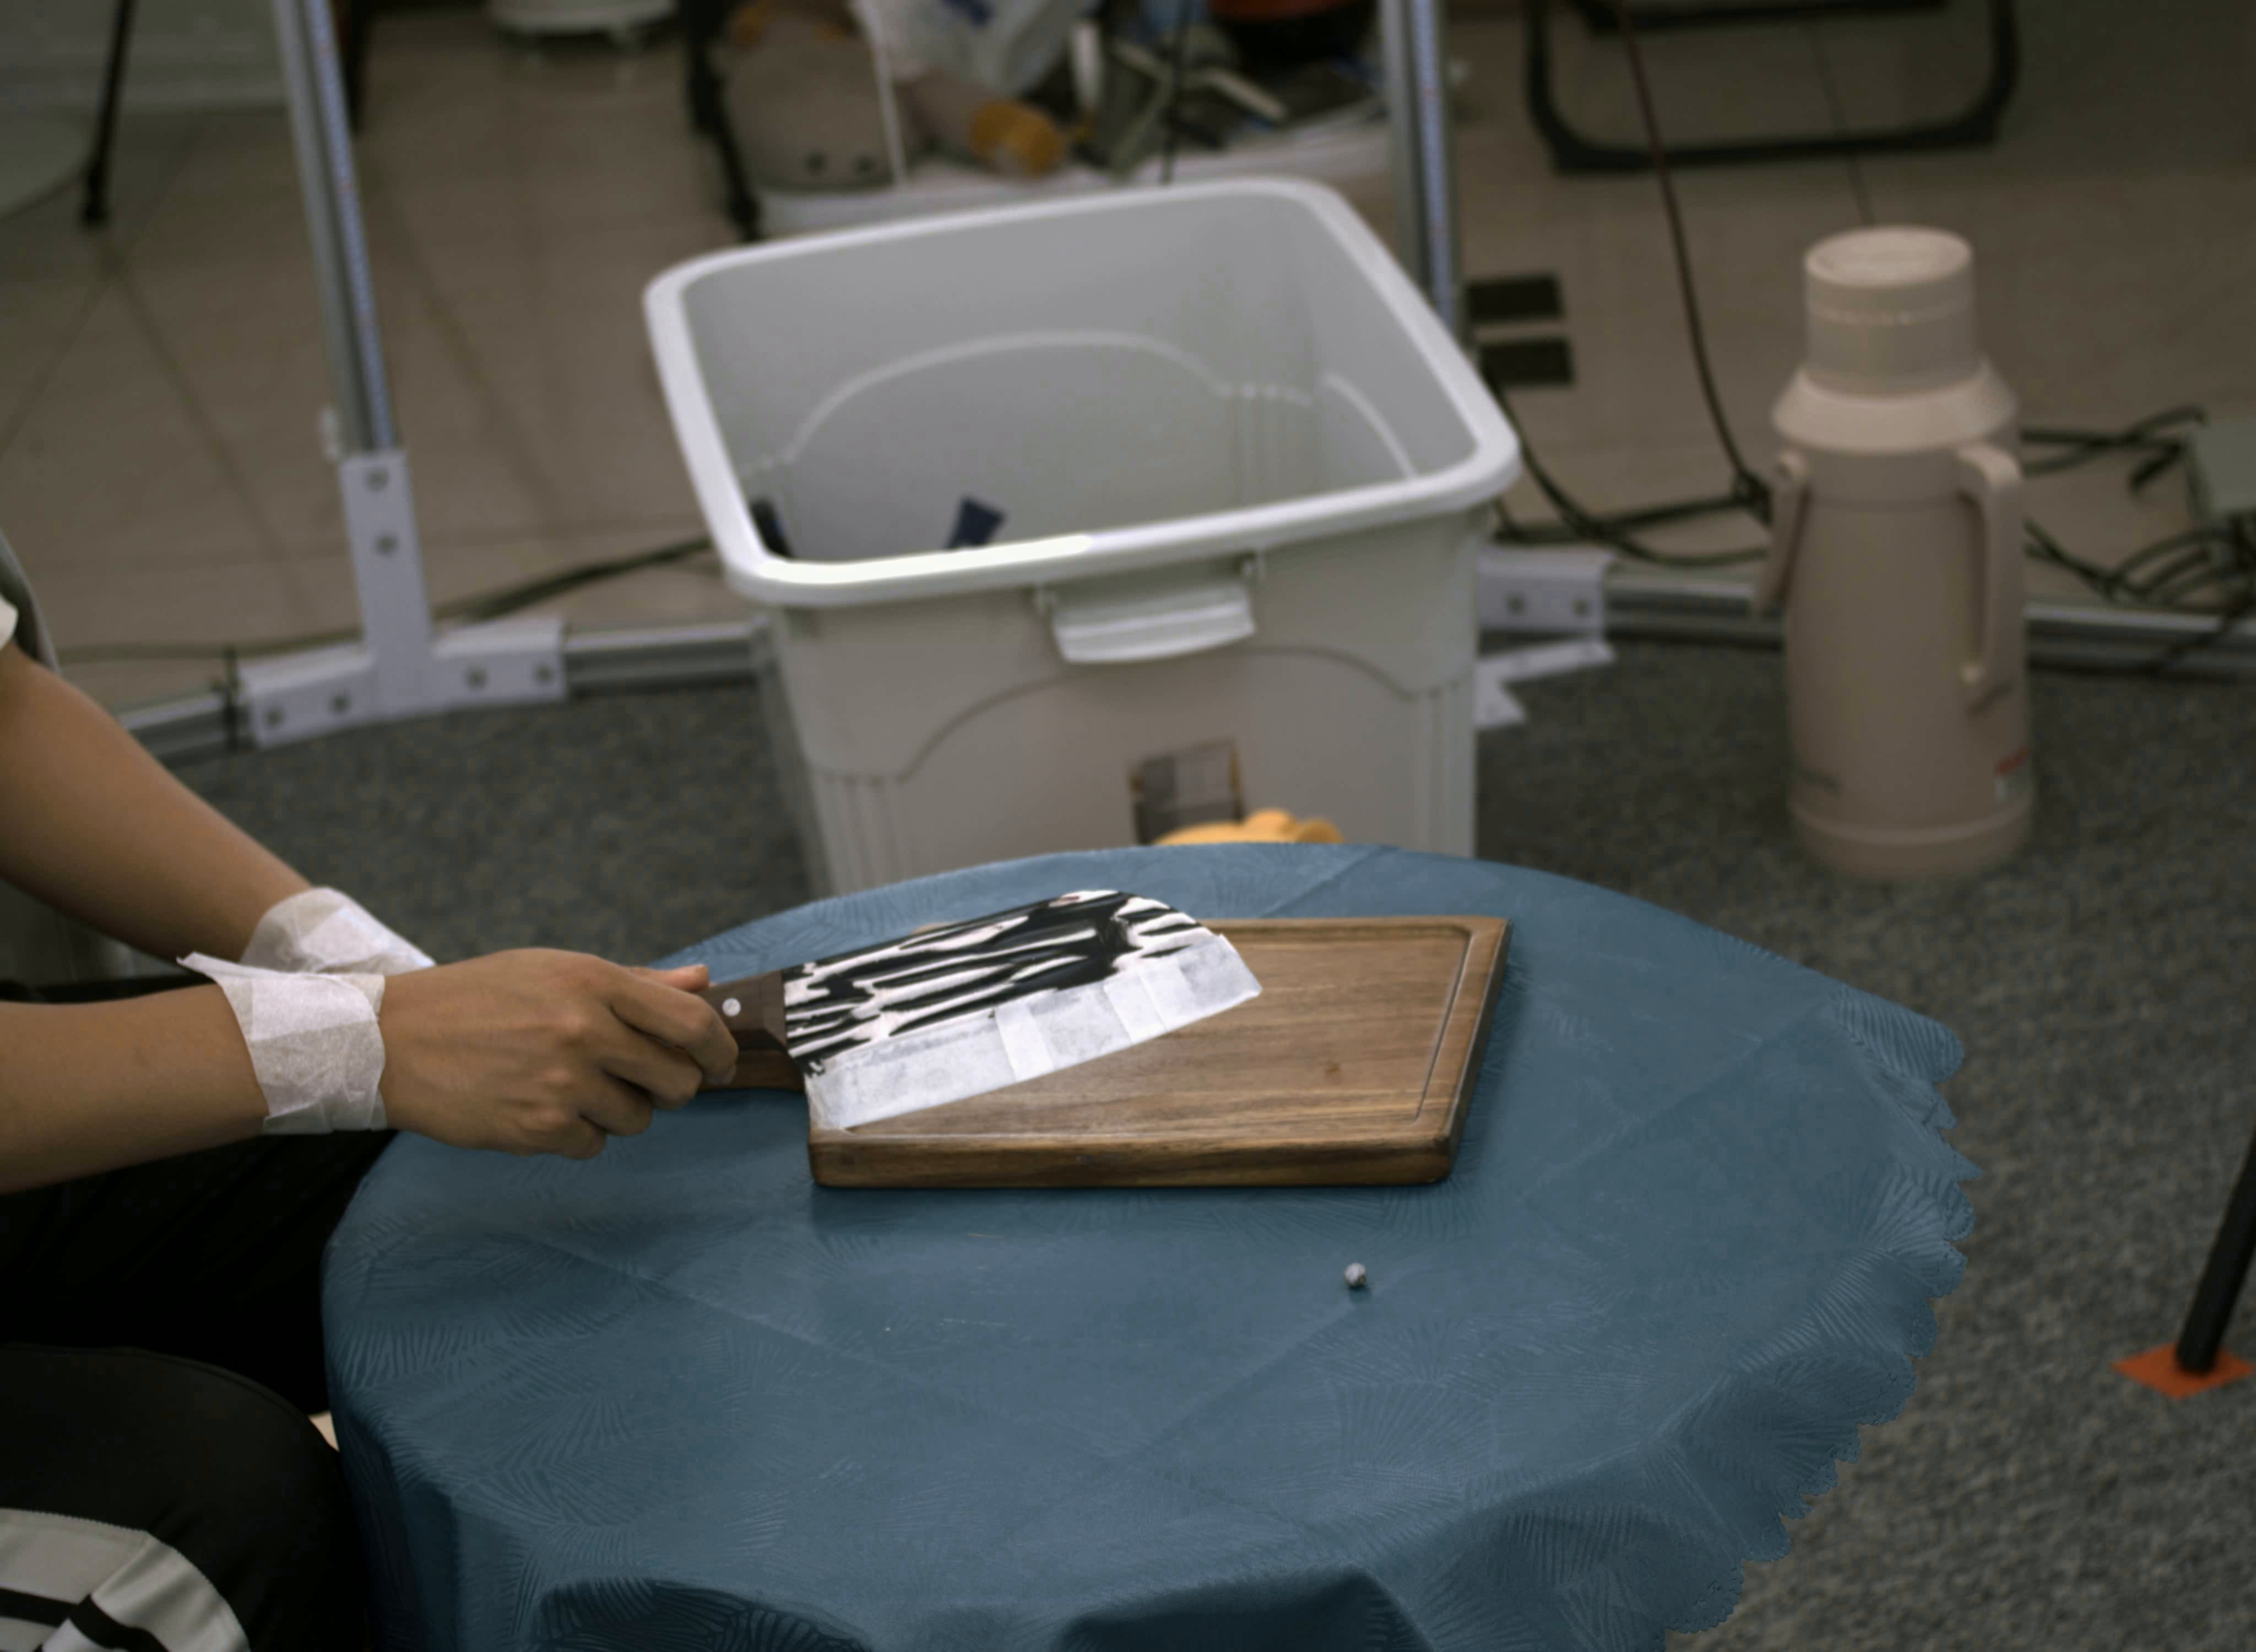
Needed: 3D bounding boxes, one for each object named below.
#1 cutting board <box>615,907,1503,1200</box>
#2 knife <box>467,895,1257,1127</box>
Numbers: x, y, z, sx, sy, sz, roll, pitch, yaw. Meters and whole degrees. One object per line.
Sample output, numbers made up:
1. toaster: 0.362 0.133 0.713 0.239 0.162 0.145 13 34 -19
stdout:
1. cutting board: -0.033 0.089 2.246 0.351 0.023 0.198 -2 27 12
2. knife: -0.101 0.077 2.161 0.299 0.067 0.024 -12 -13 -3
